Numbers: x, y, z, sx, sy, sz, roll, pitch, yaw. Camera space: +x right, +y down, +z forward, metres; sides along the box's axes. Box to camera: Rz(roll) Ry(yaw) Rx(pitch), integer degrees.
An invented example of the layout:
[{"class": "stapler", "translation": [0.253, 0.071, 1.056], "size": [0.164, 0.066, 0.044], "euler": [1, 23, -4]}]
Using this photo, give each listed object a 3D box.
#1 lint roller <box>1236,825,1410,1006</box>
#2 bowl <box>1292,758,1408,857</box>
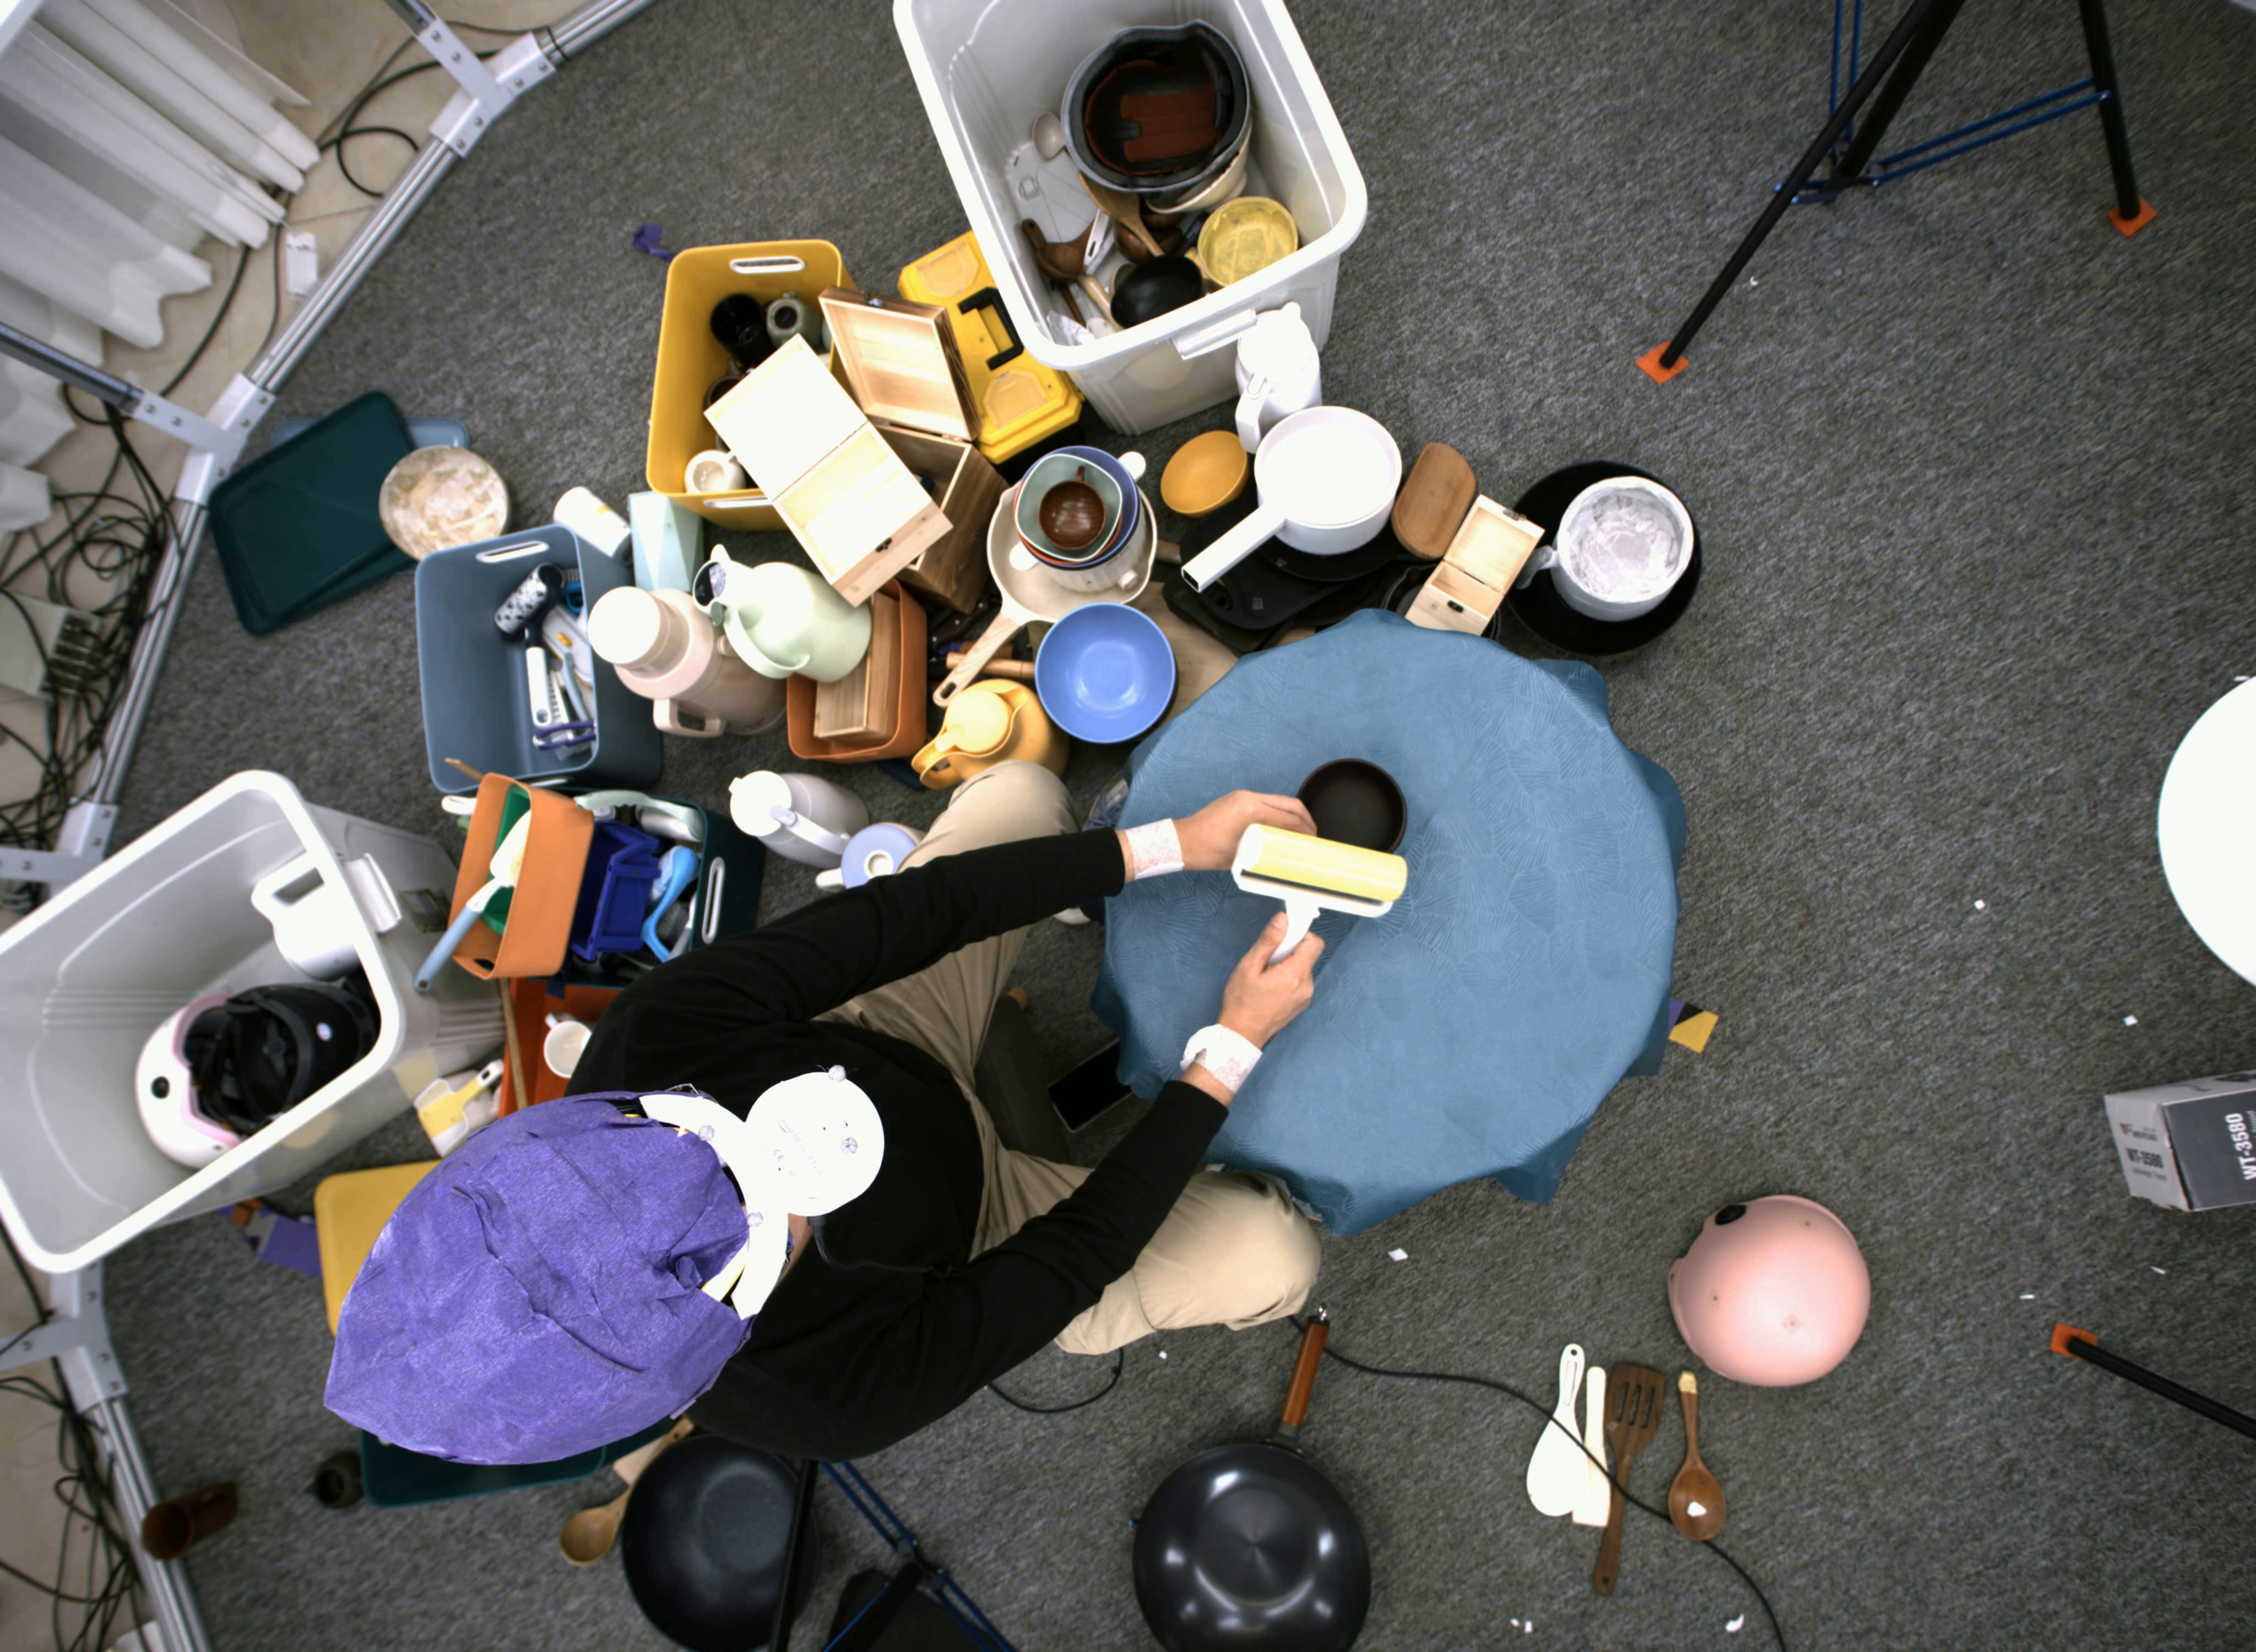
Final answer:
[{"class": "lint roller", "translation": [0.176, 0.102, 1.382], "size": [0.174, 0.050, 0.195], "euler": [10, 109, -17]}, {"class": "bowl", "translation": [0.230, -0.010, 1.434], "size": [0.118, 0.070, 0.117], "euler": [-1, 85, 10]}]
